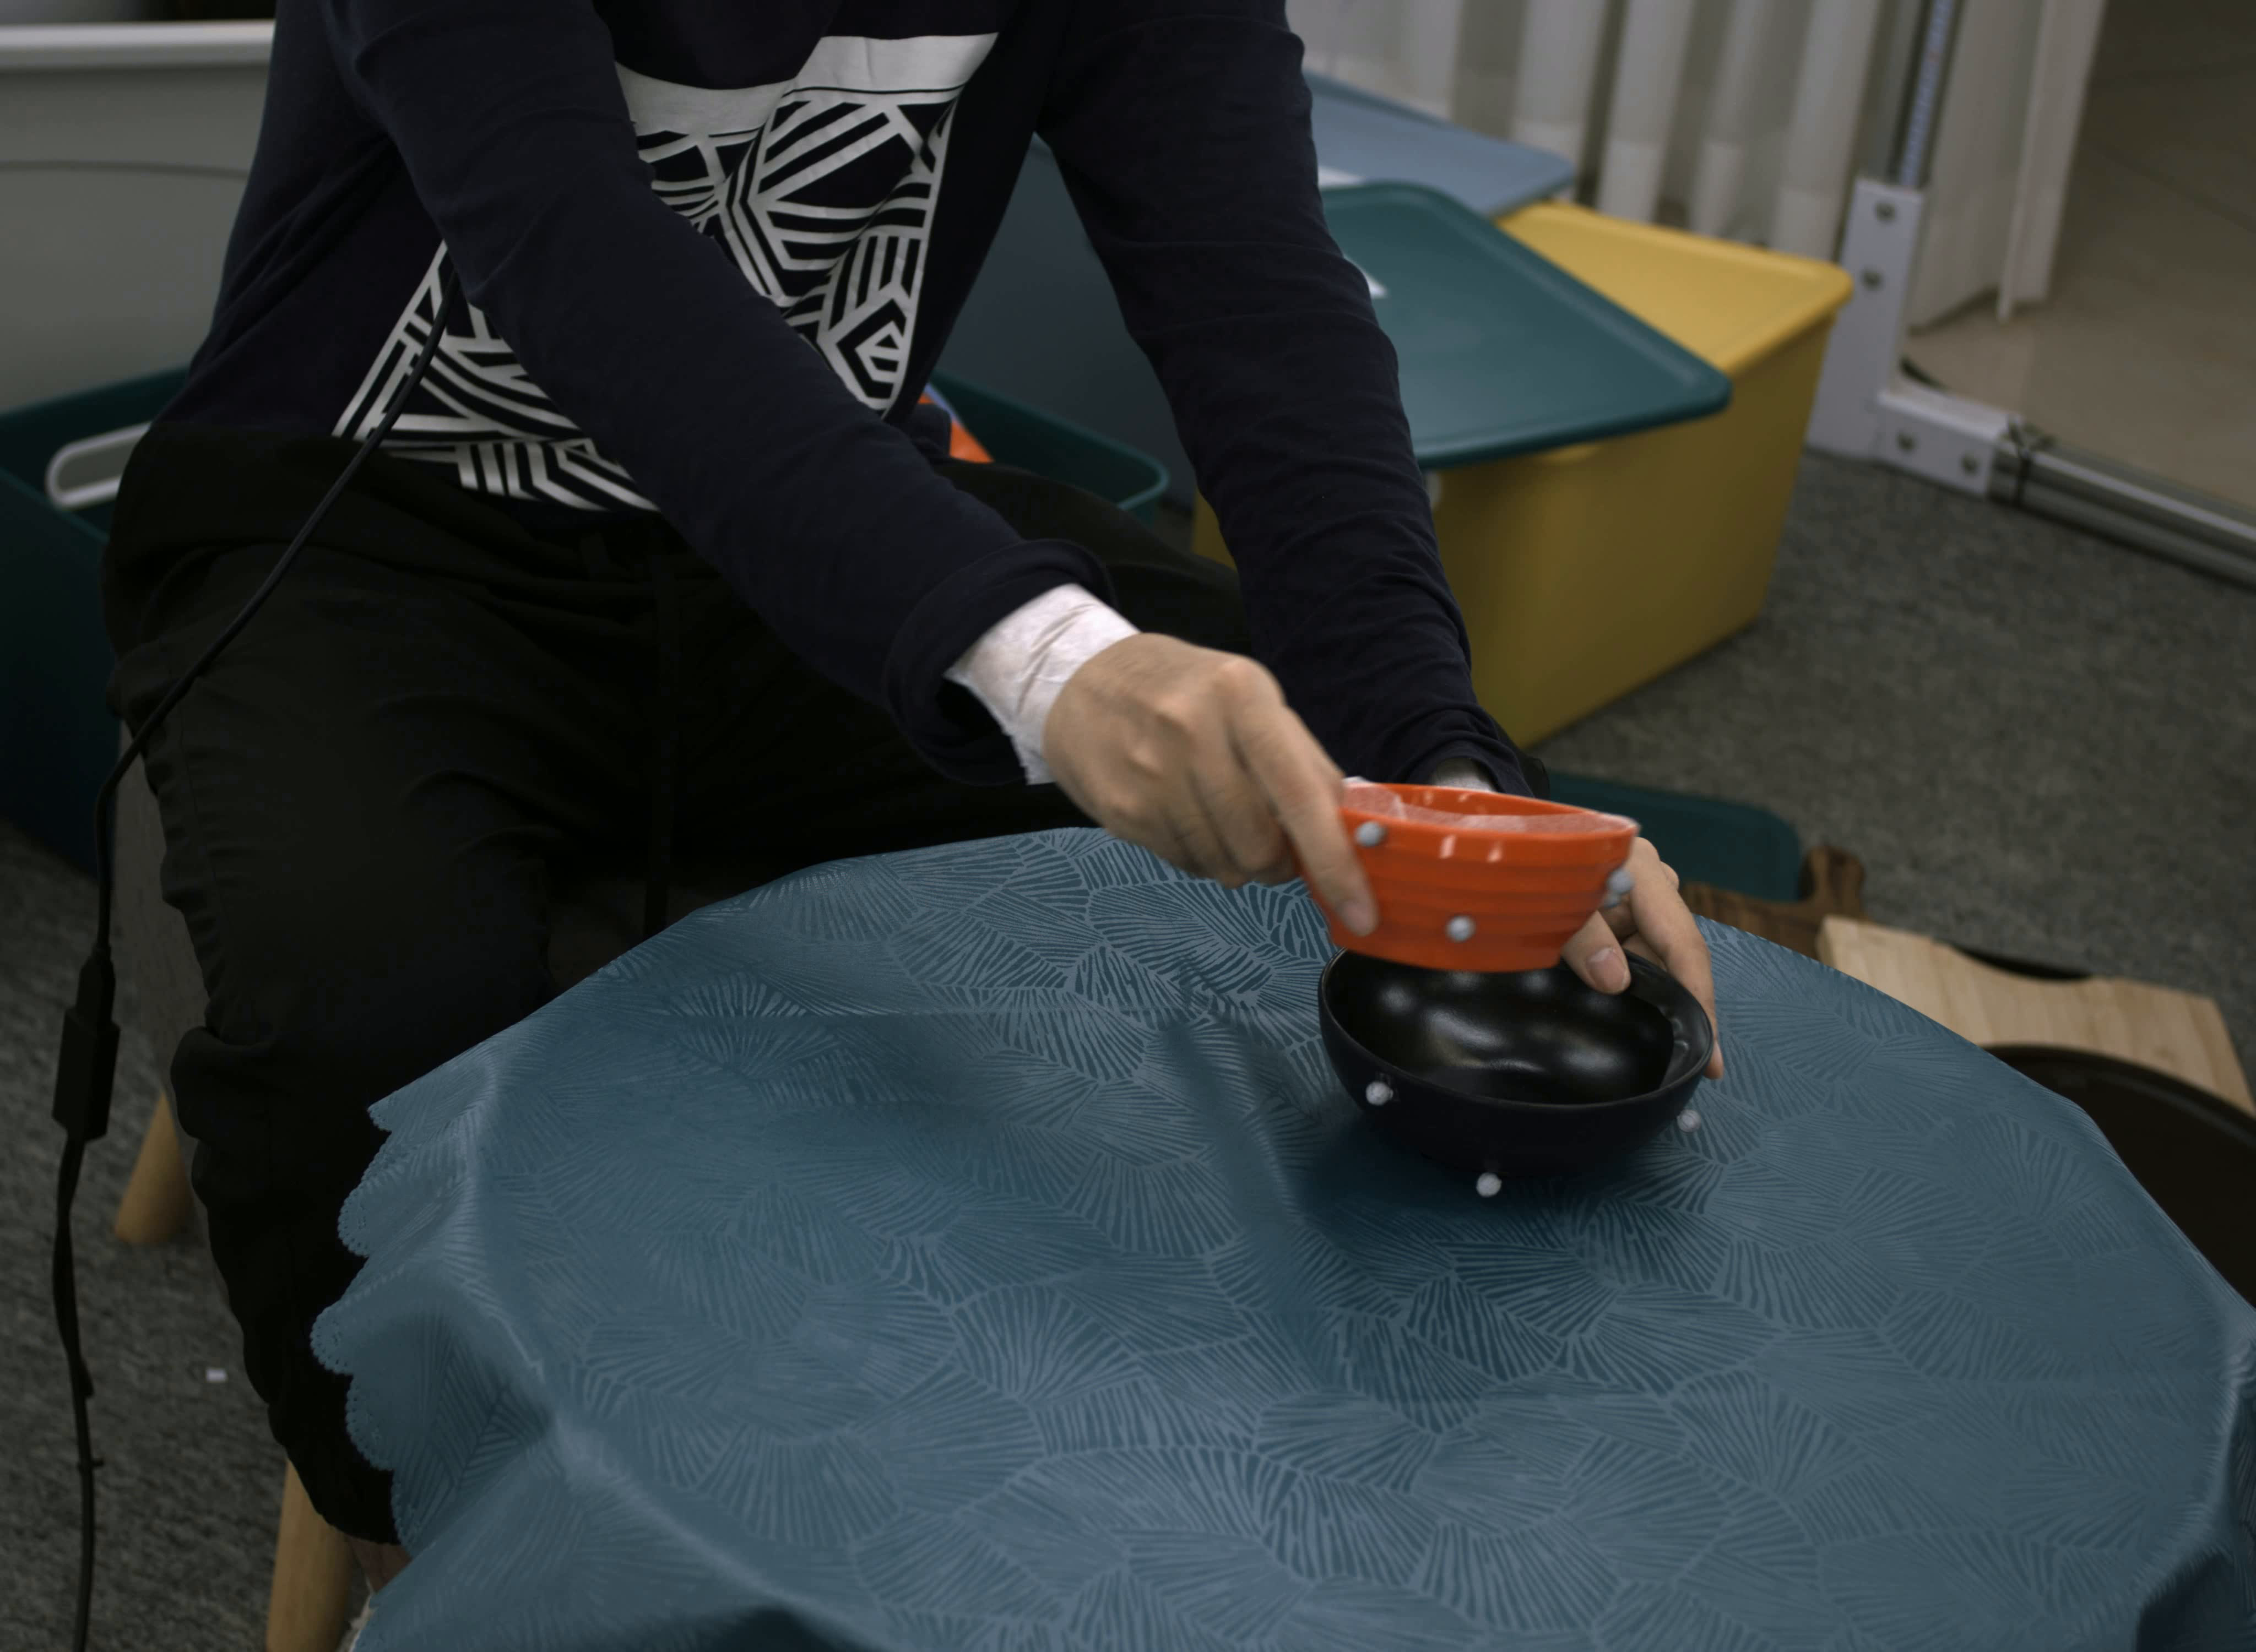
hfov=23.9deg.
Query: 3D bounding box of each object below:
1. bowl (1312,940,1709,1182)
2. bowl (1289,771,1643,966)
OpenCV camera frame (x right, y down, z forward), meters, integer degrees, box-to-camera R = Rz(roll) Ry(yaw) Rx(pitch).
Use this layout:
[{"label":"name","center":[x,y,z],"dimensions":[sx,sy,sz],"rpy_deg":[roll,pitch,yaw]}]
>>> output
[{"label":"bowl","center":[0.131,0.087,1.858],"dimensions":[0.139,0.049,0.141],"rpy_deg":[4,23,-2]},{"label":"bowl","center":[0.110,0.015,1.779],"dimensions":[0.118,0.051,0.119],"rpy_deg":[6,8,-1]}]
